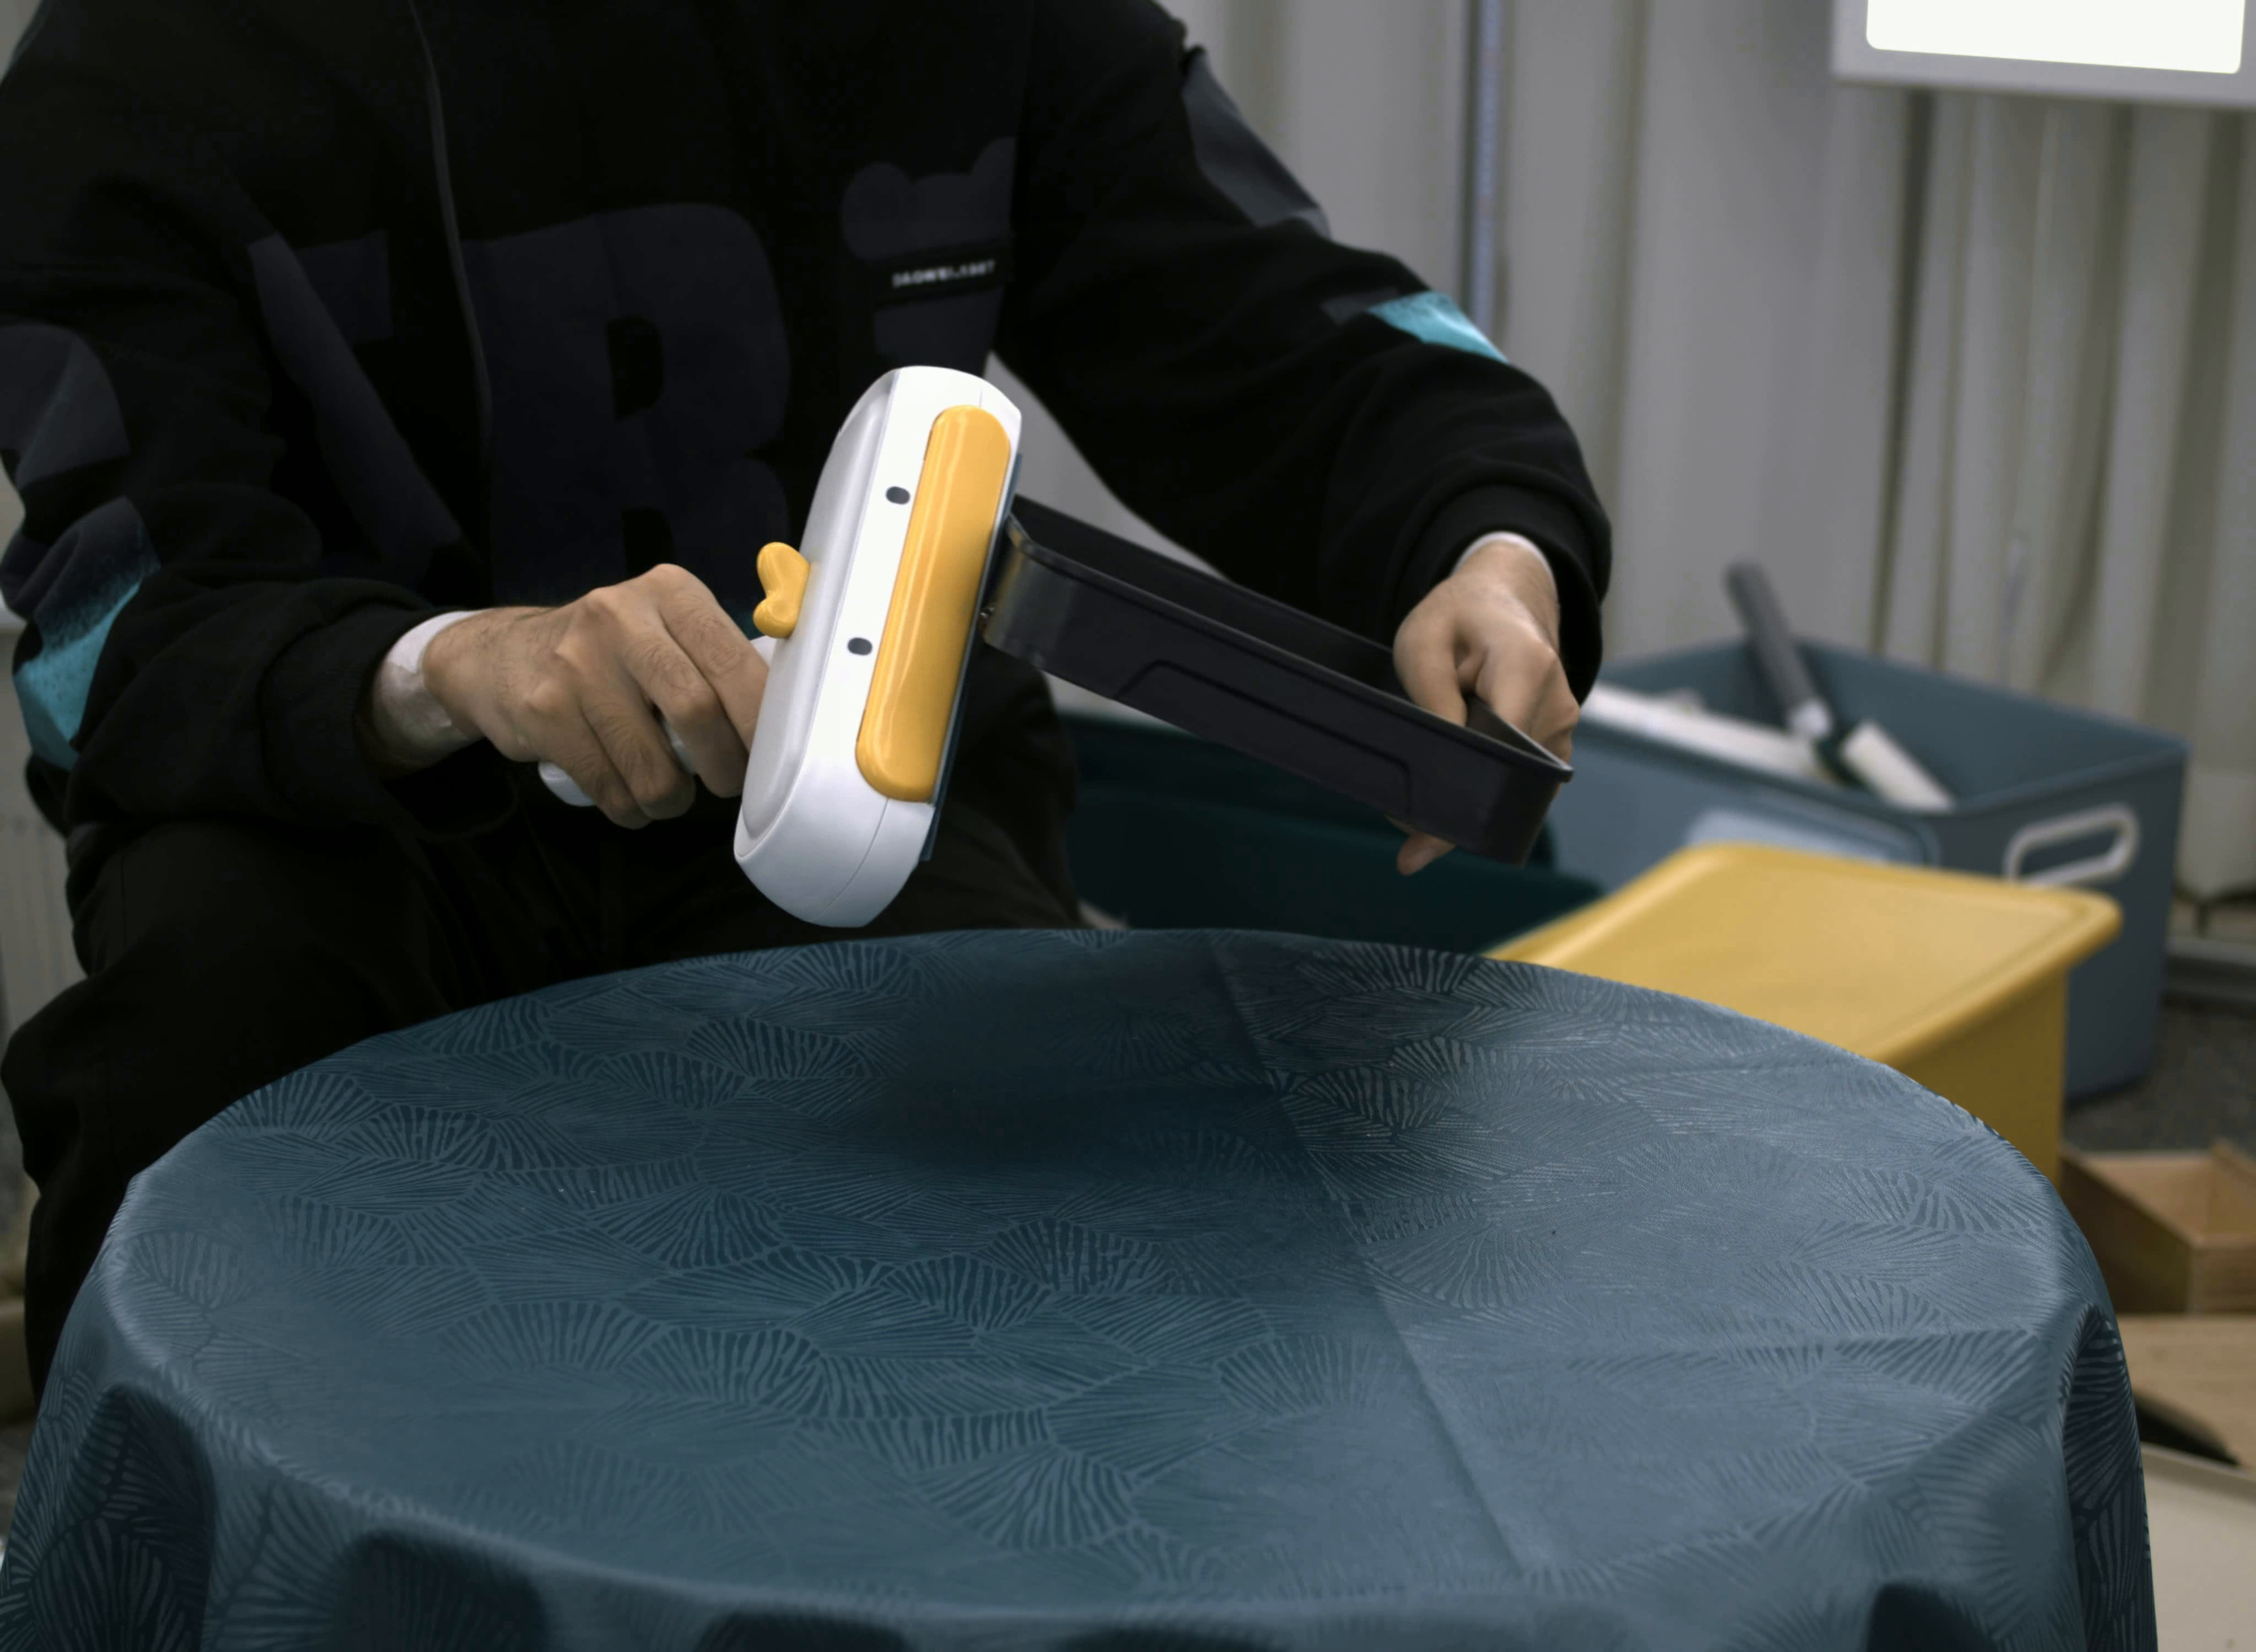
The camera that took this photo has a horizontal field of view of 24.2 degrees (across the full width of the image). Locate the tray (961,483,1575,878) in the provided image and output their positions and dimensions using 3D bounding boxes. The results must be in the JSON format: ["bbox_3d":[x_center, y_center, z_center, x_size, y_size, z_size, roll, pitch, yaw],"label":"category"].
[{"bbox_3d":[0.034,-0.053,1.721,0.184,0.037,0.316,23,6,-8],"label":"tray"}]

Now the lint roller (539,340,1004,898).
[{"bbox_3d":[-0.117,-0.045,1.678,0.075,0.191,0.192,23,-37,-28],"label":"lint roller"}]
